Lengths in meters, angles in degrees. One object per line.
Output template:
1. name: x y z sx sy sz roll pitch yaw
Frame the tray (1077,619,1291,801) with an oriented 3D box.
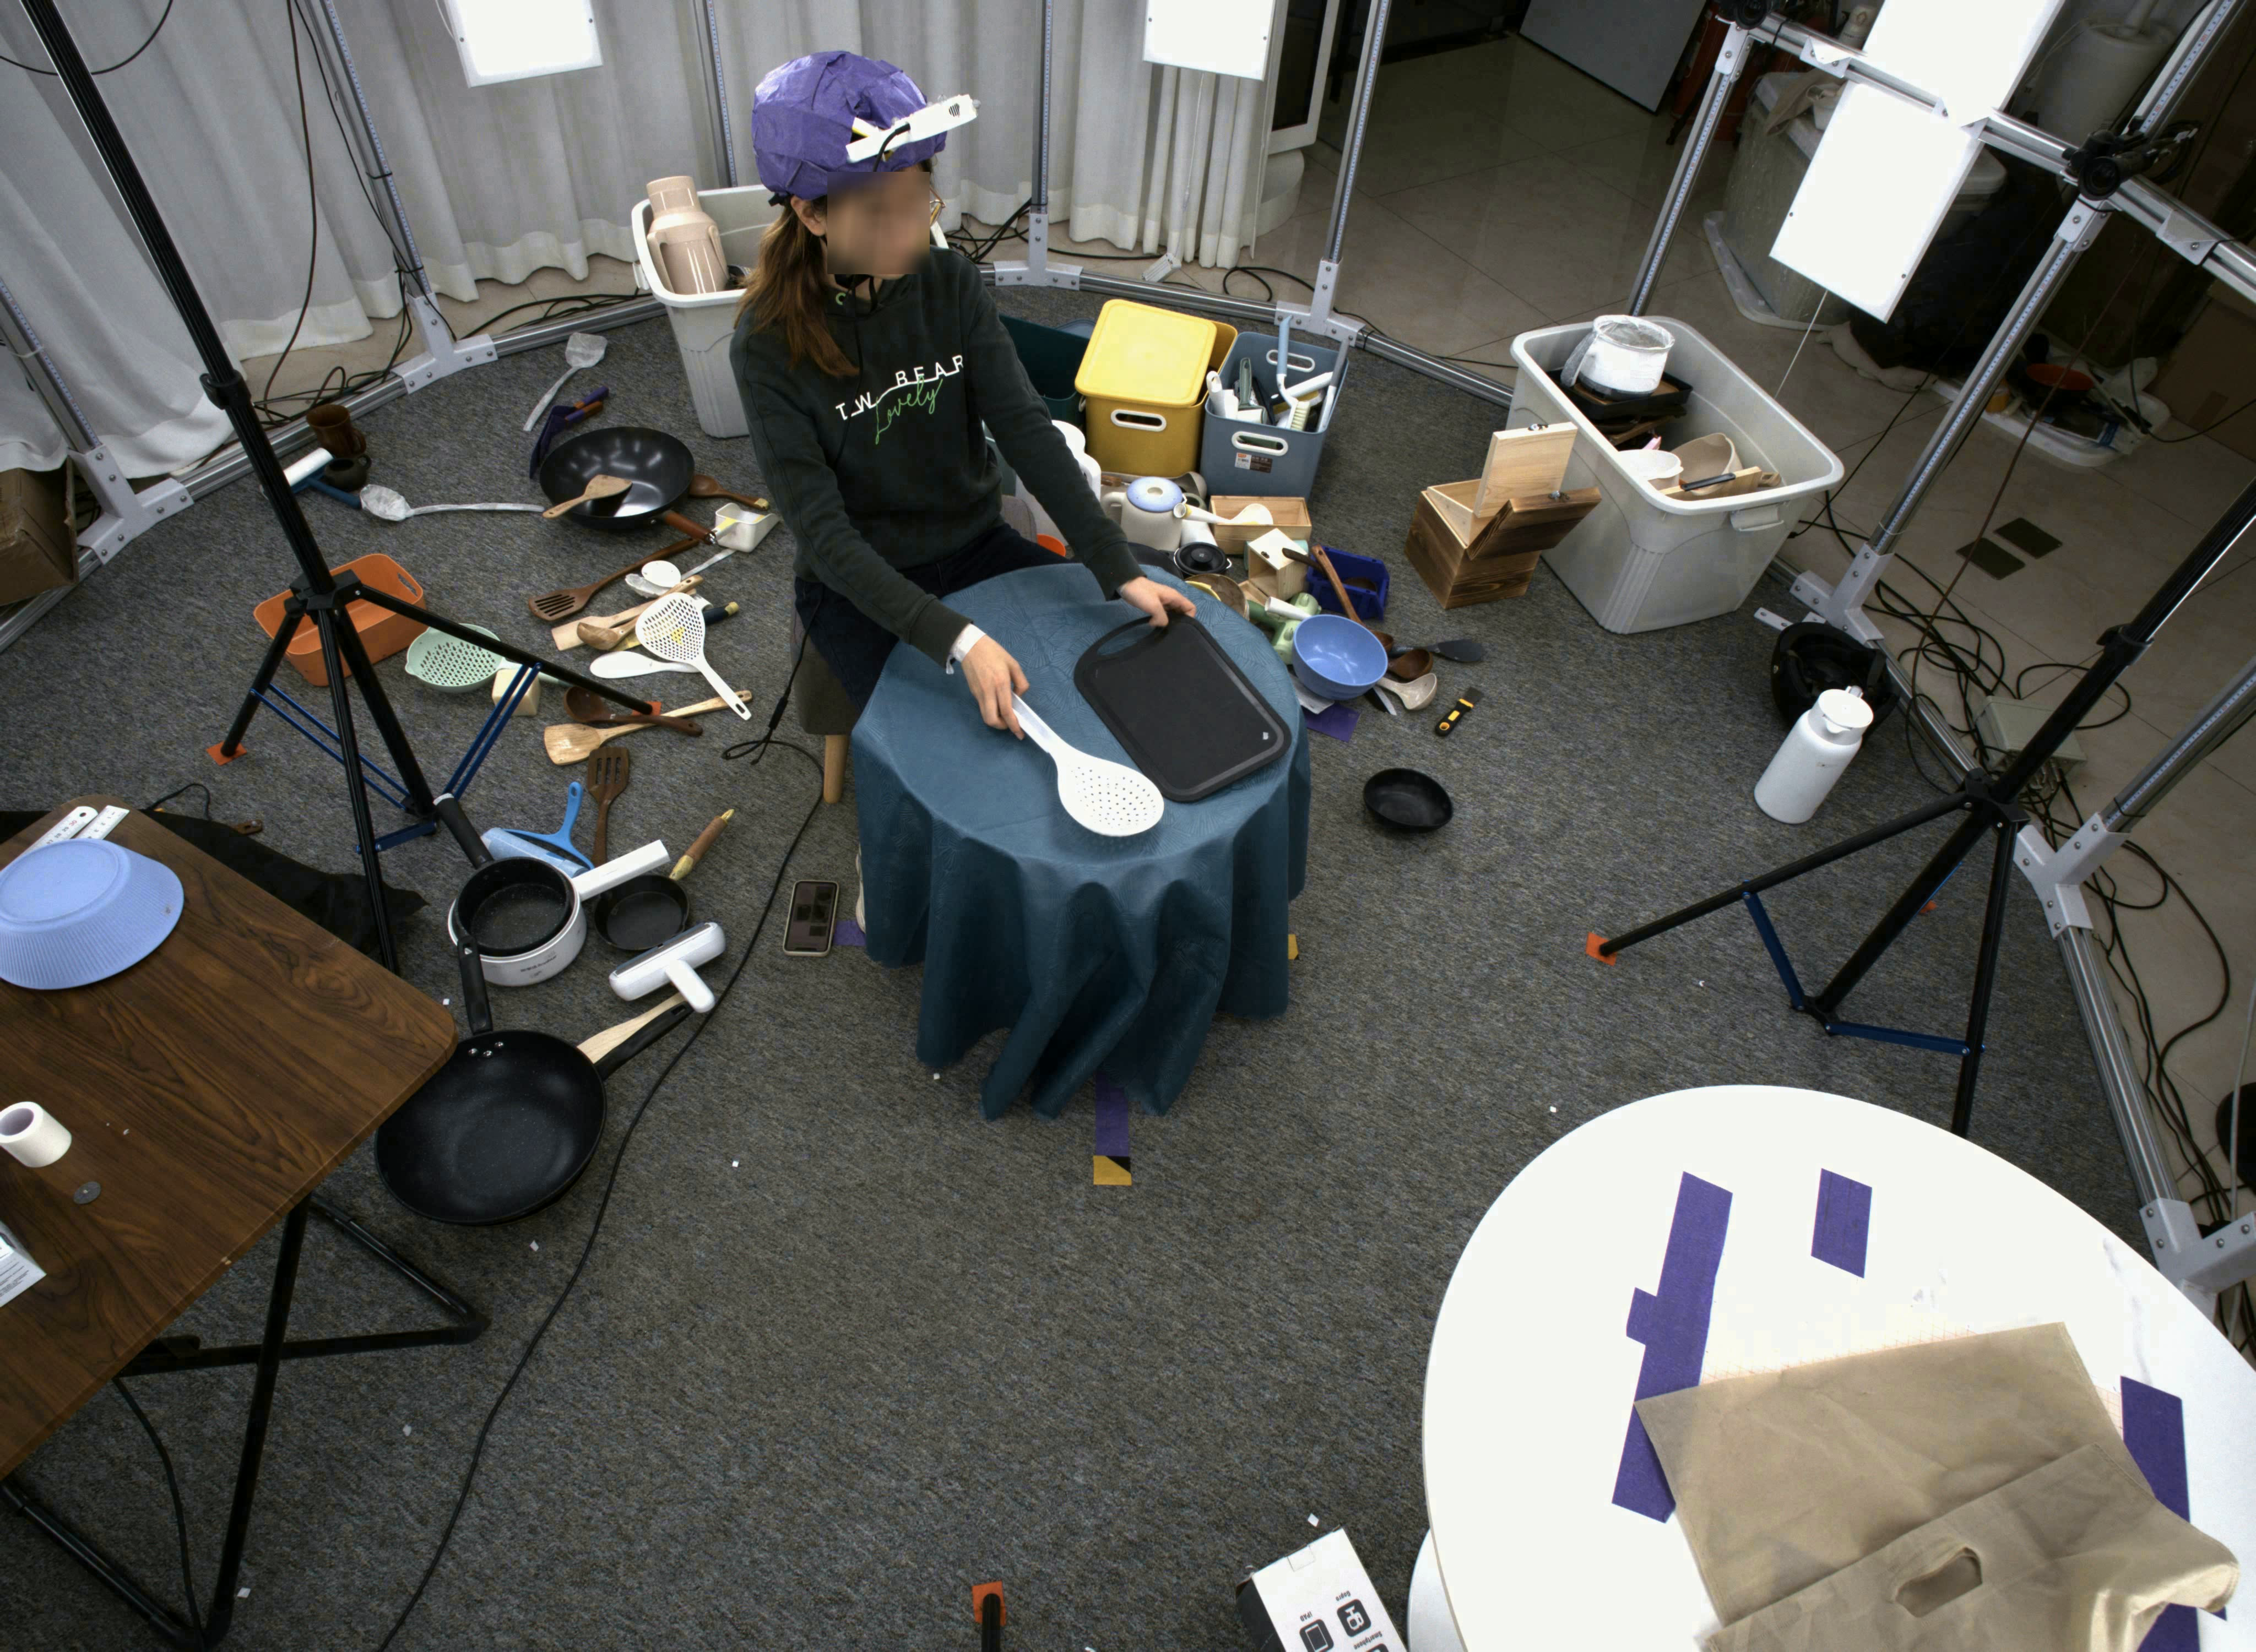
1. tray: 0.071 -0.176 1.818 0.212 0.009 0.332 -26 55 -15

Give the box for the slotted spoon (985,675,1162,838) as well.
1. slotted spoon: -0.089 -0.098 1.722 0.136 0.045 0.356 -21 56 -33
